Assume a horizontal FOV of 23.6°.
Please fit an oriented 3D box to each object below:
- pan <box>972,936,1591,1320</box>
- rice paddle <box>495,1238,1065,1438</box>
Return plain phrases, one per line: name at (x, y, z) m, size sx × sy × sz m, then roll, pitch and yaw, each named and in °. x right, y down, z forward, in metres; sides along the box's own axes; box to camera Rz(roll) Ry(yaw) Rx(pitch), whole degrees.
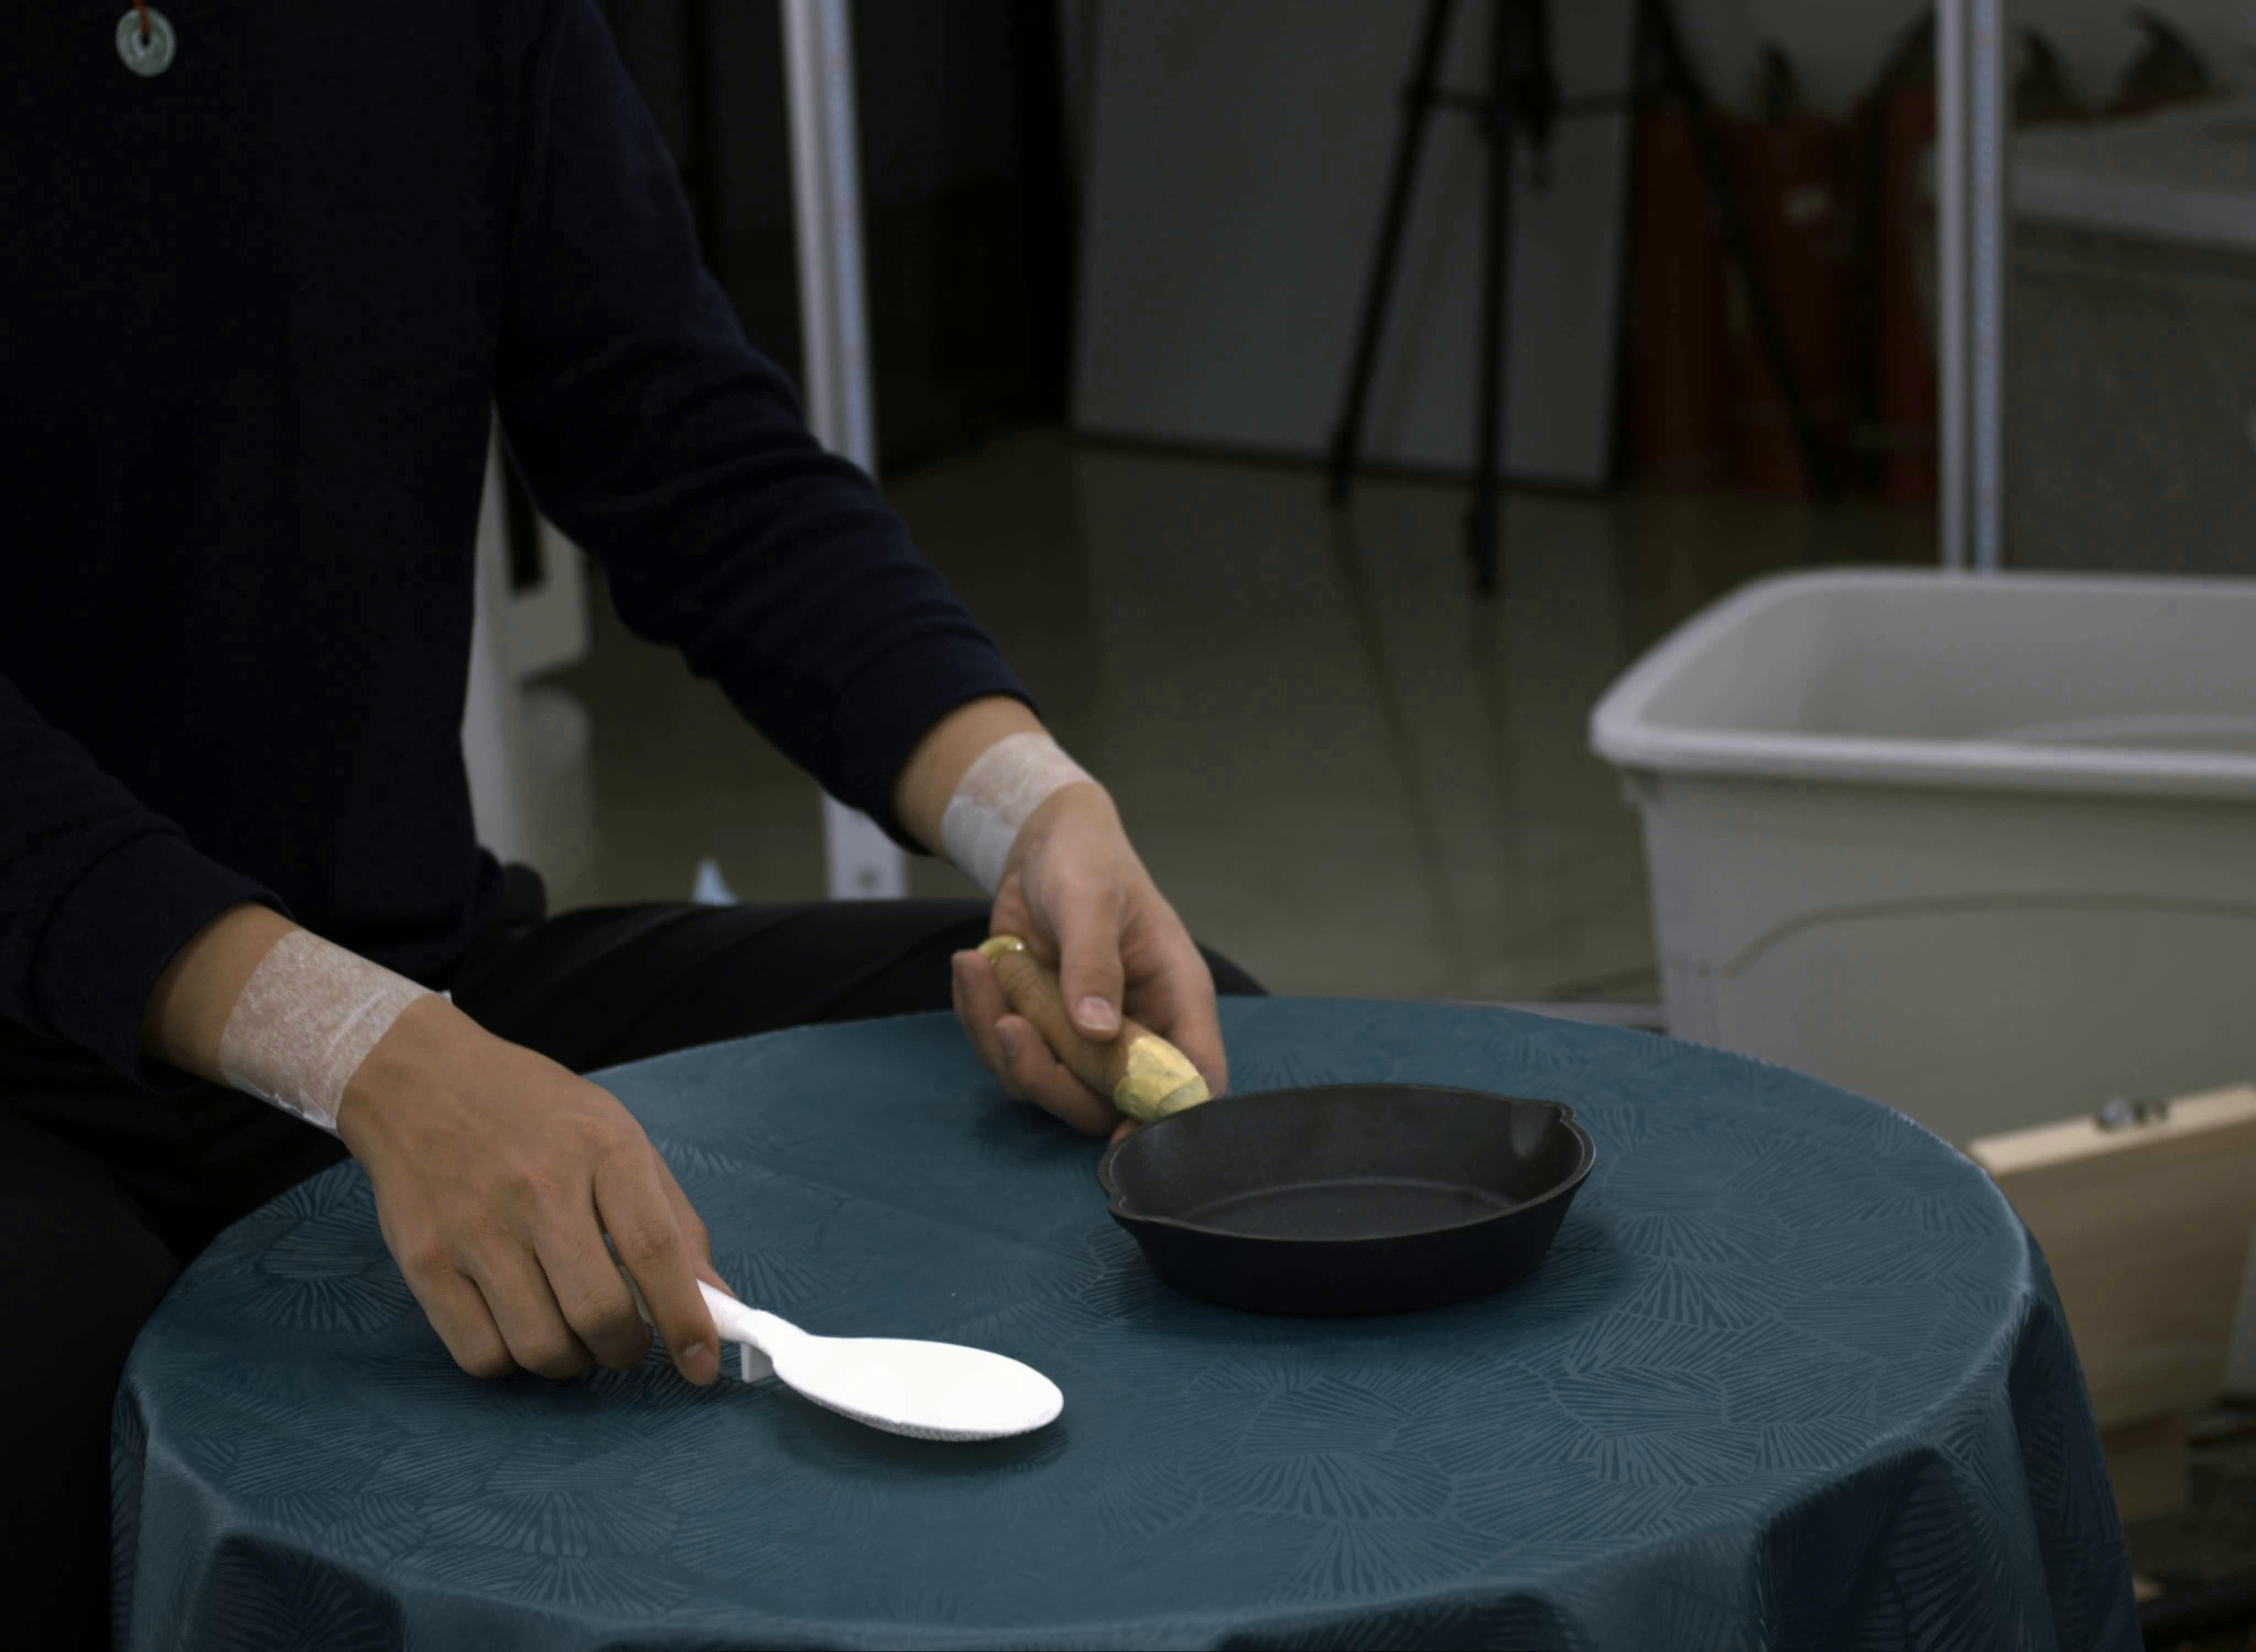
pan at (0.029, 0.095, 1.763) m, size 0.165 × 0.050 × 0.327 m, roll -11°, pitch 17°, yaw -25°
rice paddle at (-0.104, 0.153, 1.602) m, size 0.207 × 0.030 × 0.067 m, roll 9°, pitch 15°, yaw 38°
